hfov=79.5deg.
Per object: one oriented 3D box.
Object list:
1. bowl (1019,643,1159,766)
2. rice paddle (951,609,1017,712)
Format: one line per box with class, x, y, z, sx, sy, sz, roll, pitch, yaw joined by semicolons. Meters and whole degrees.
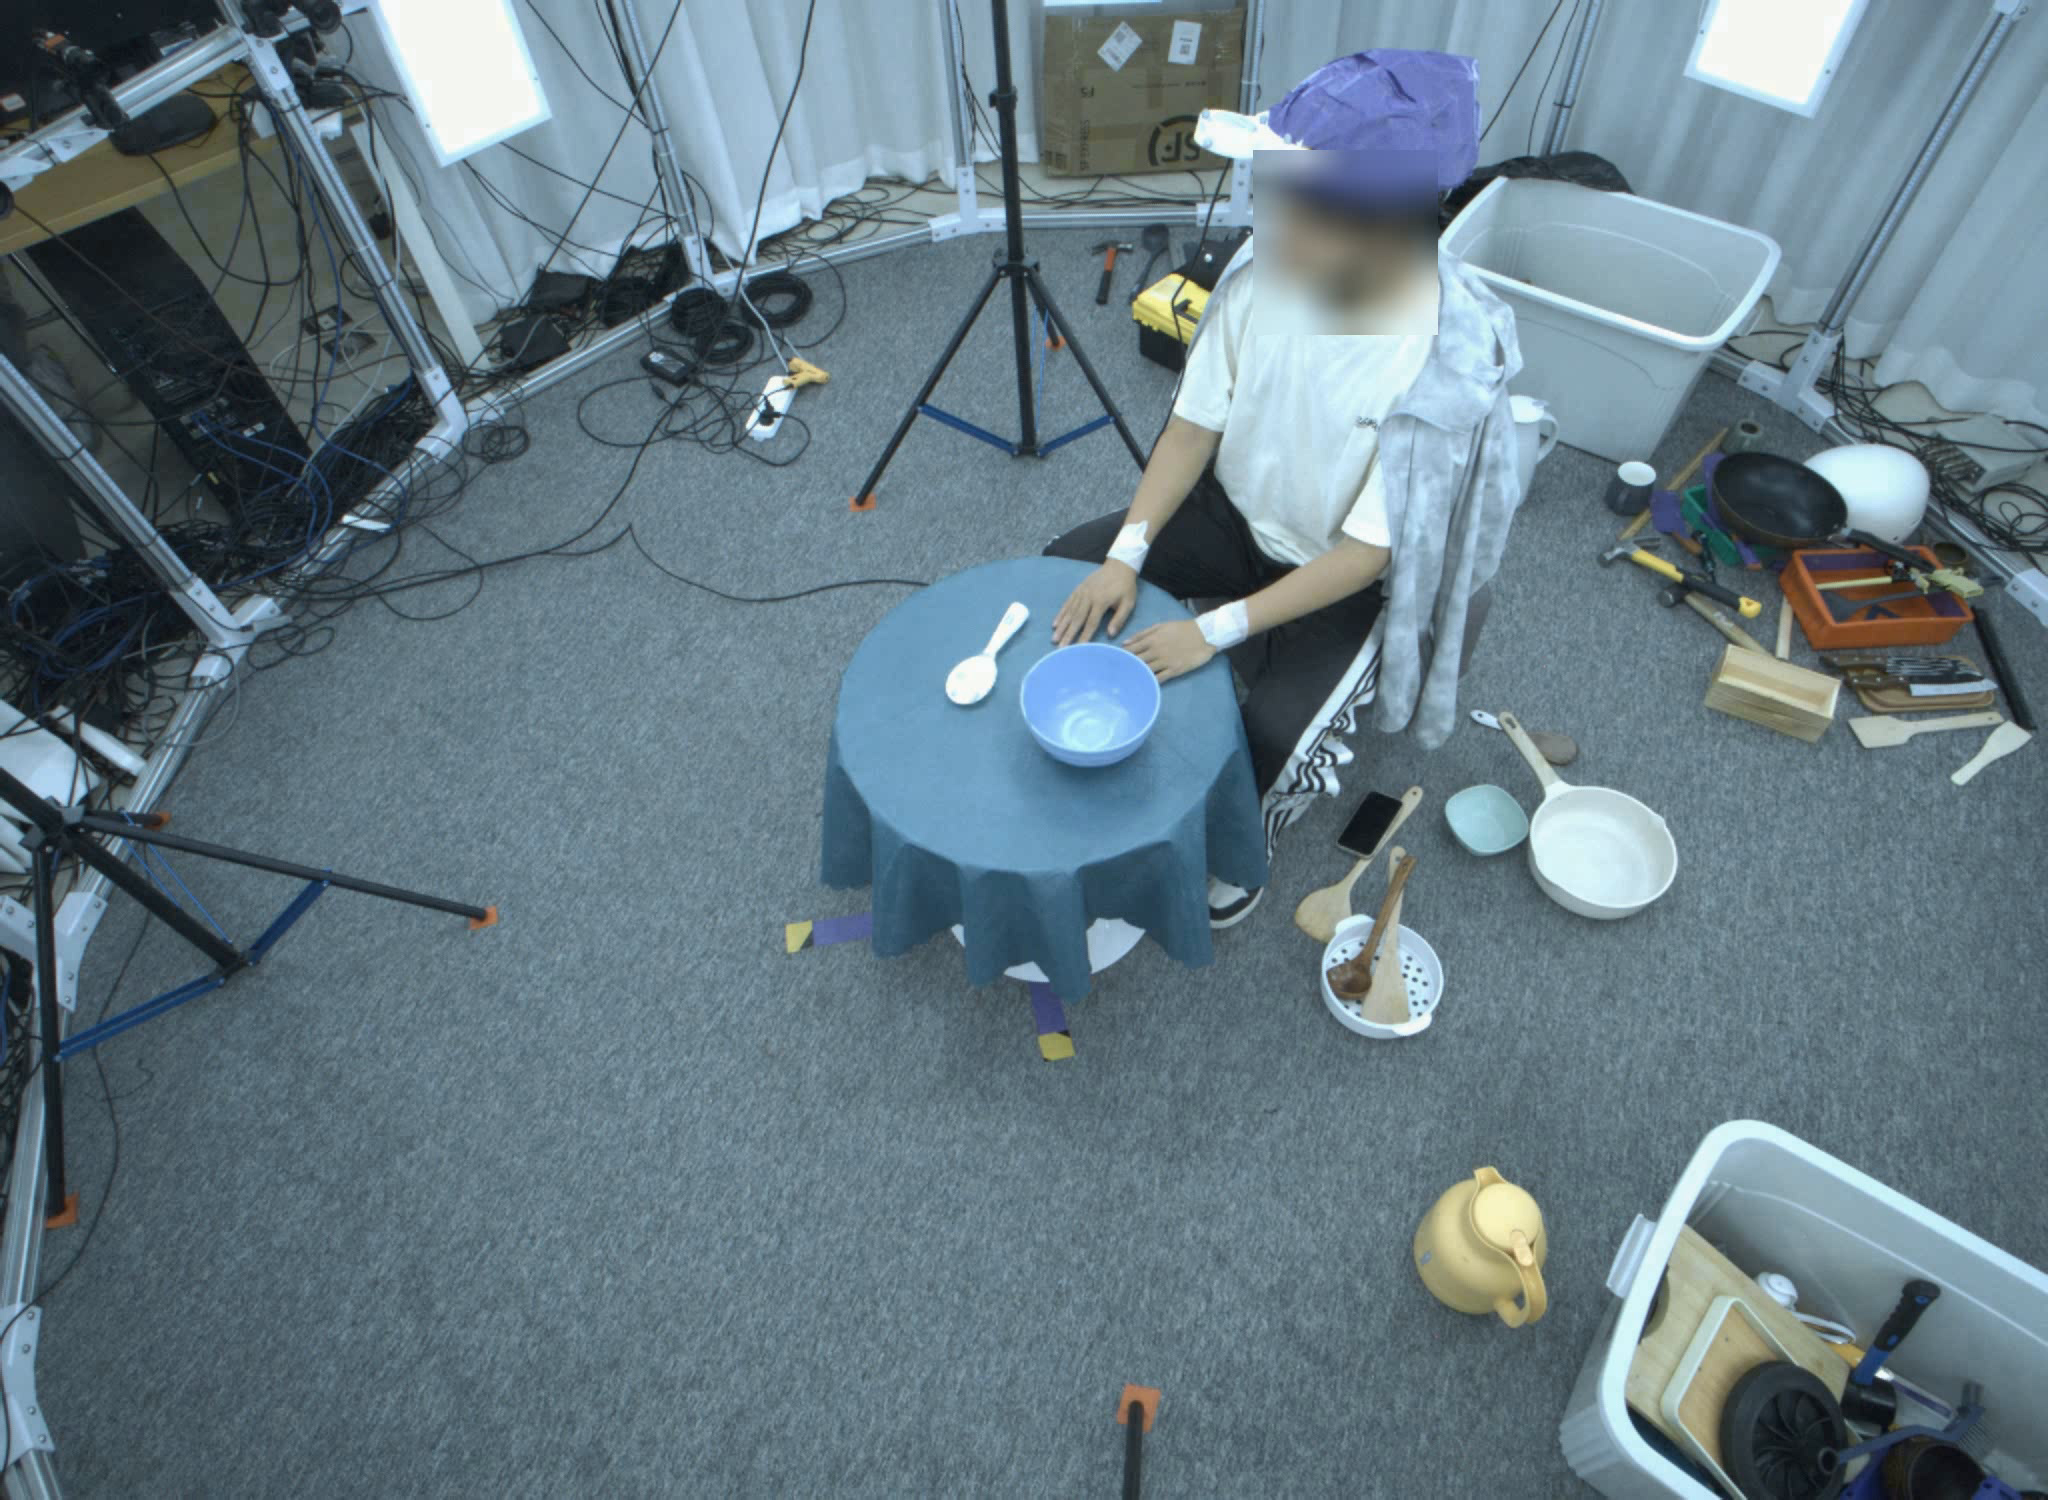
bowl;0.095;-0.050;1.762;0.196;0.096;0.194;-2;55;4
rice paddle;-0.056;-0.136;1.875;0.069;0.029;0.205;21;54;1
